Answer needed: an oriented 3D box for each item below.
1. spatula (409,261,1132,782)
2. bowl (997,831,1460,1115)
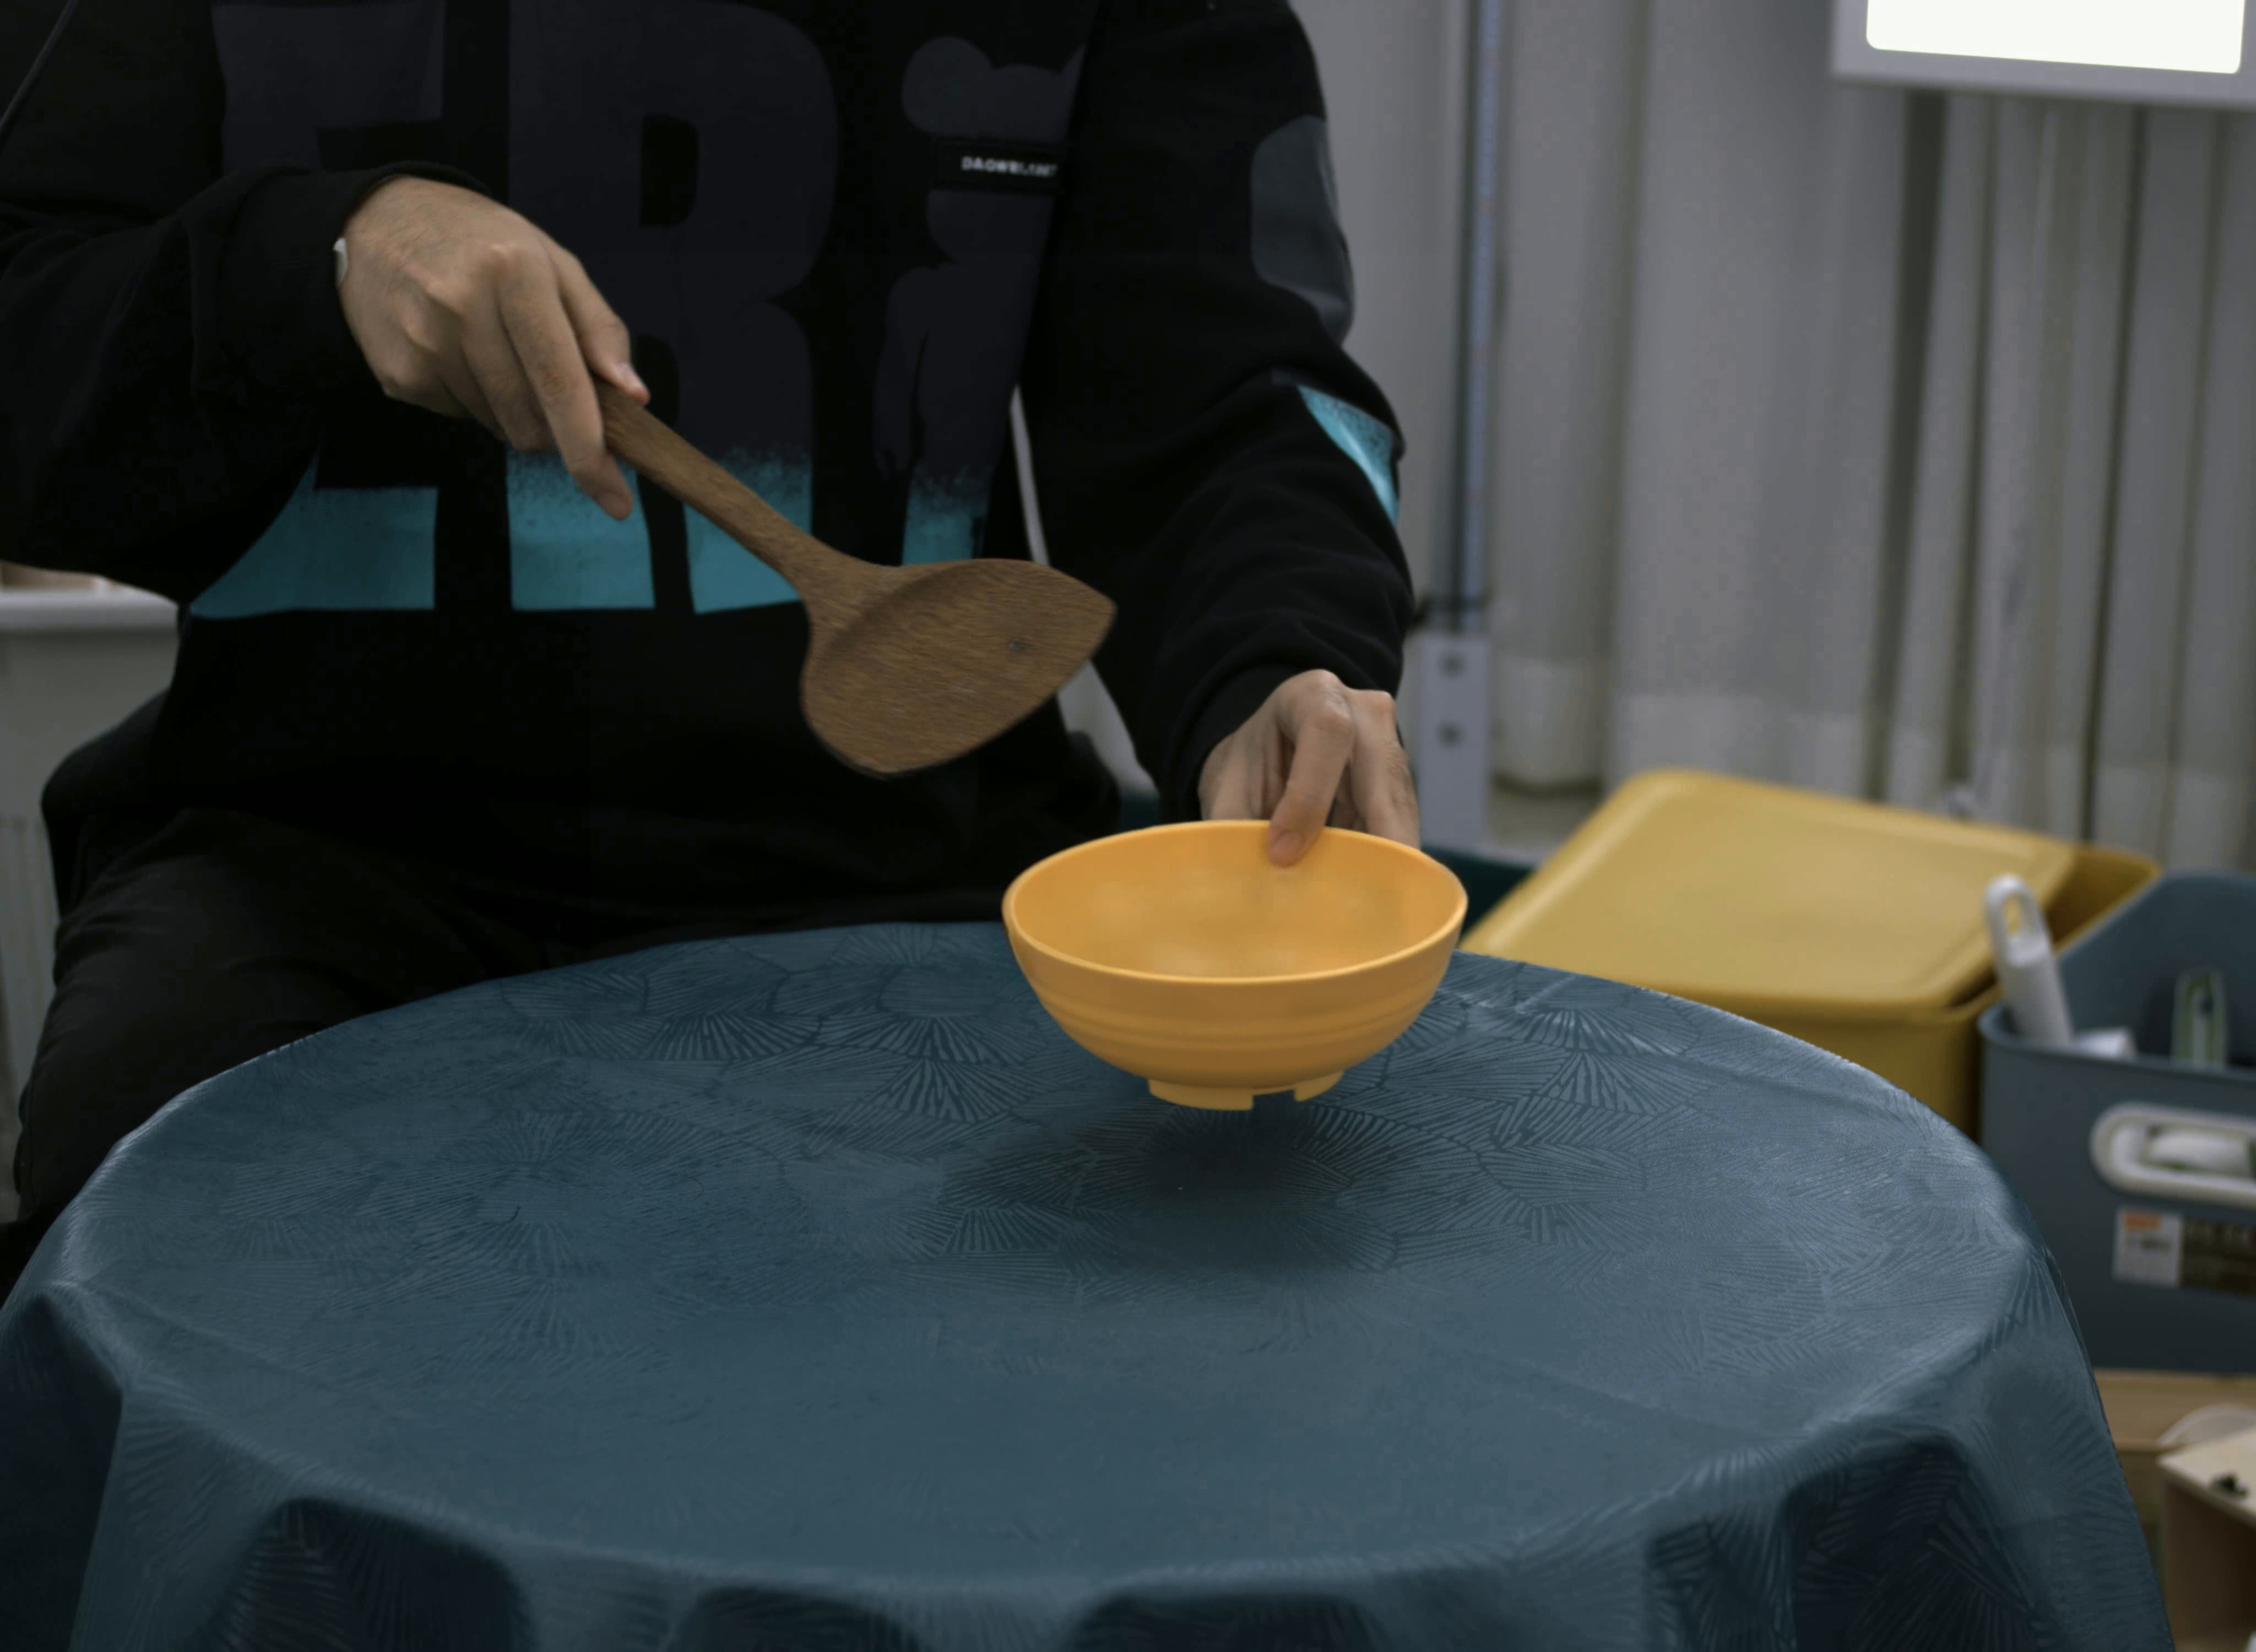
[{"bbox_3d":[-0.136,-0.112,1.712,0.096,0.016,0.380,-38,45,-16],"label":"spatula"},{"bbox_3d":[0.031,0.051,1.645,0.145,0.060,0.144,1,18,0],"label":"bowl"}]
